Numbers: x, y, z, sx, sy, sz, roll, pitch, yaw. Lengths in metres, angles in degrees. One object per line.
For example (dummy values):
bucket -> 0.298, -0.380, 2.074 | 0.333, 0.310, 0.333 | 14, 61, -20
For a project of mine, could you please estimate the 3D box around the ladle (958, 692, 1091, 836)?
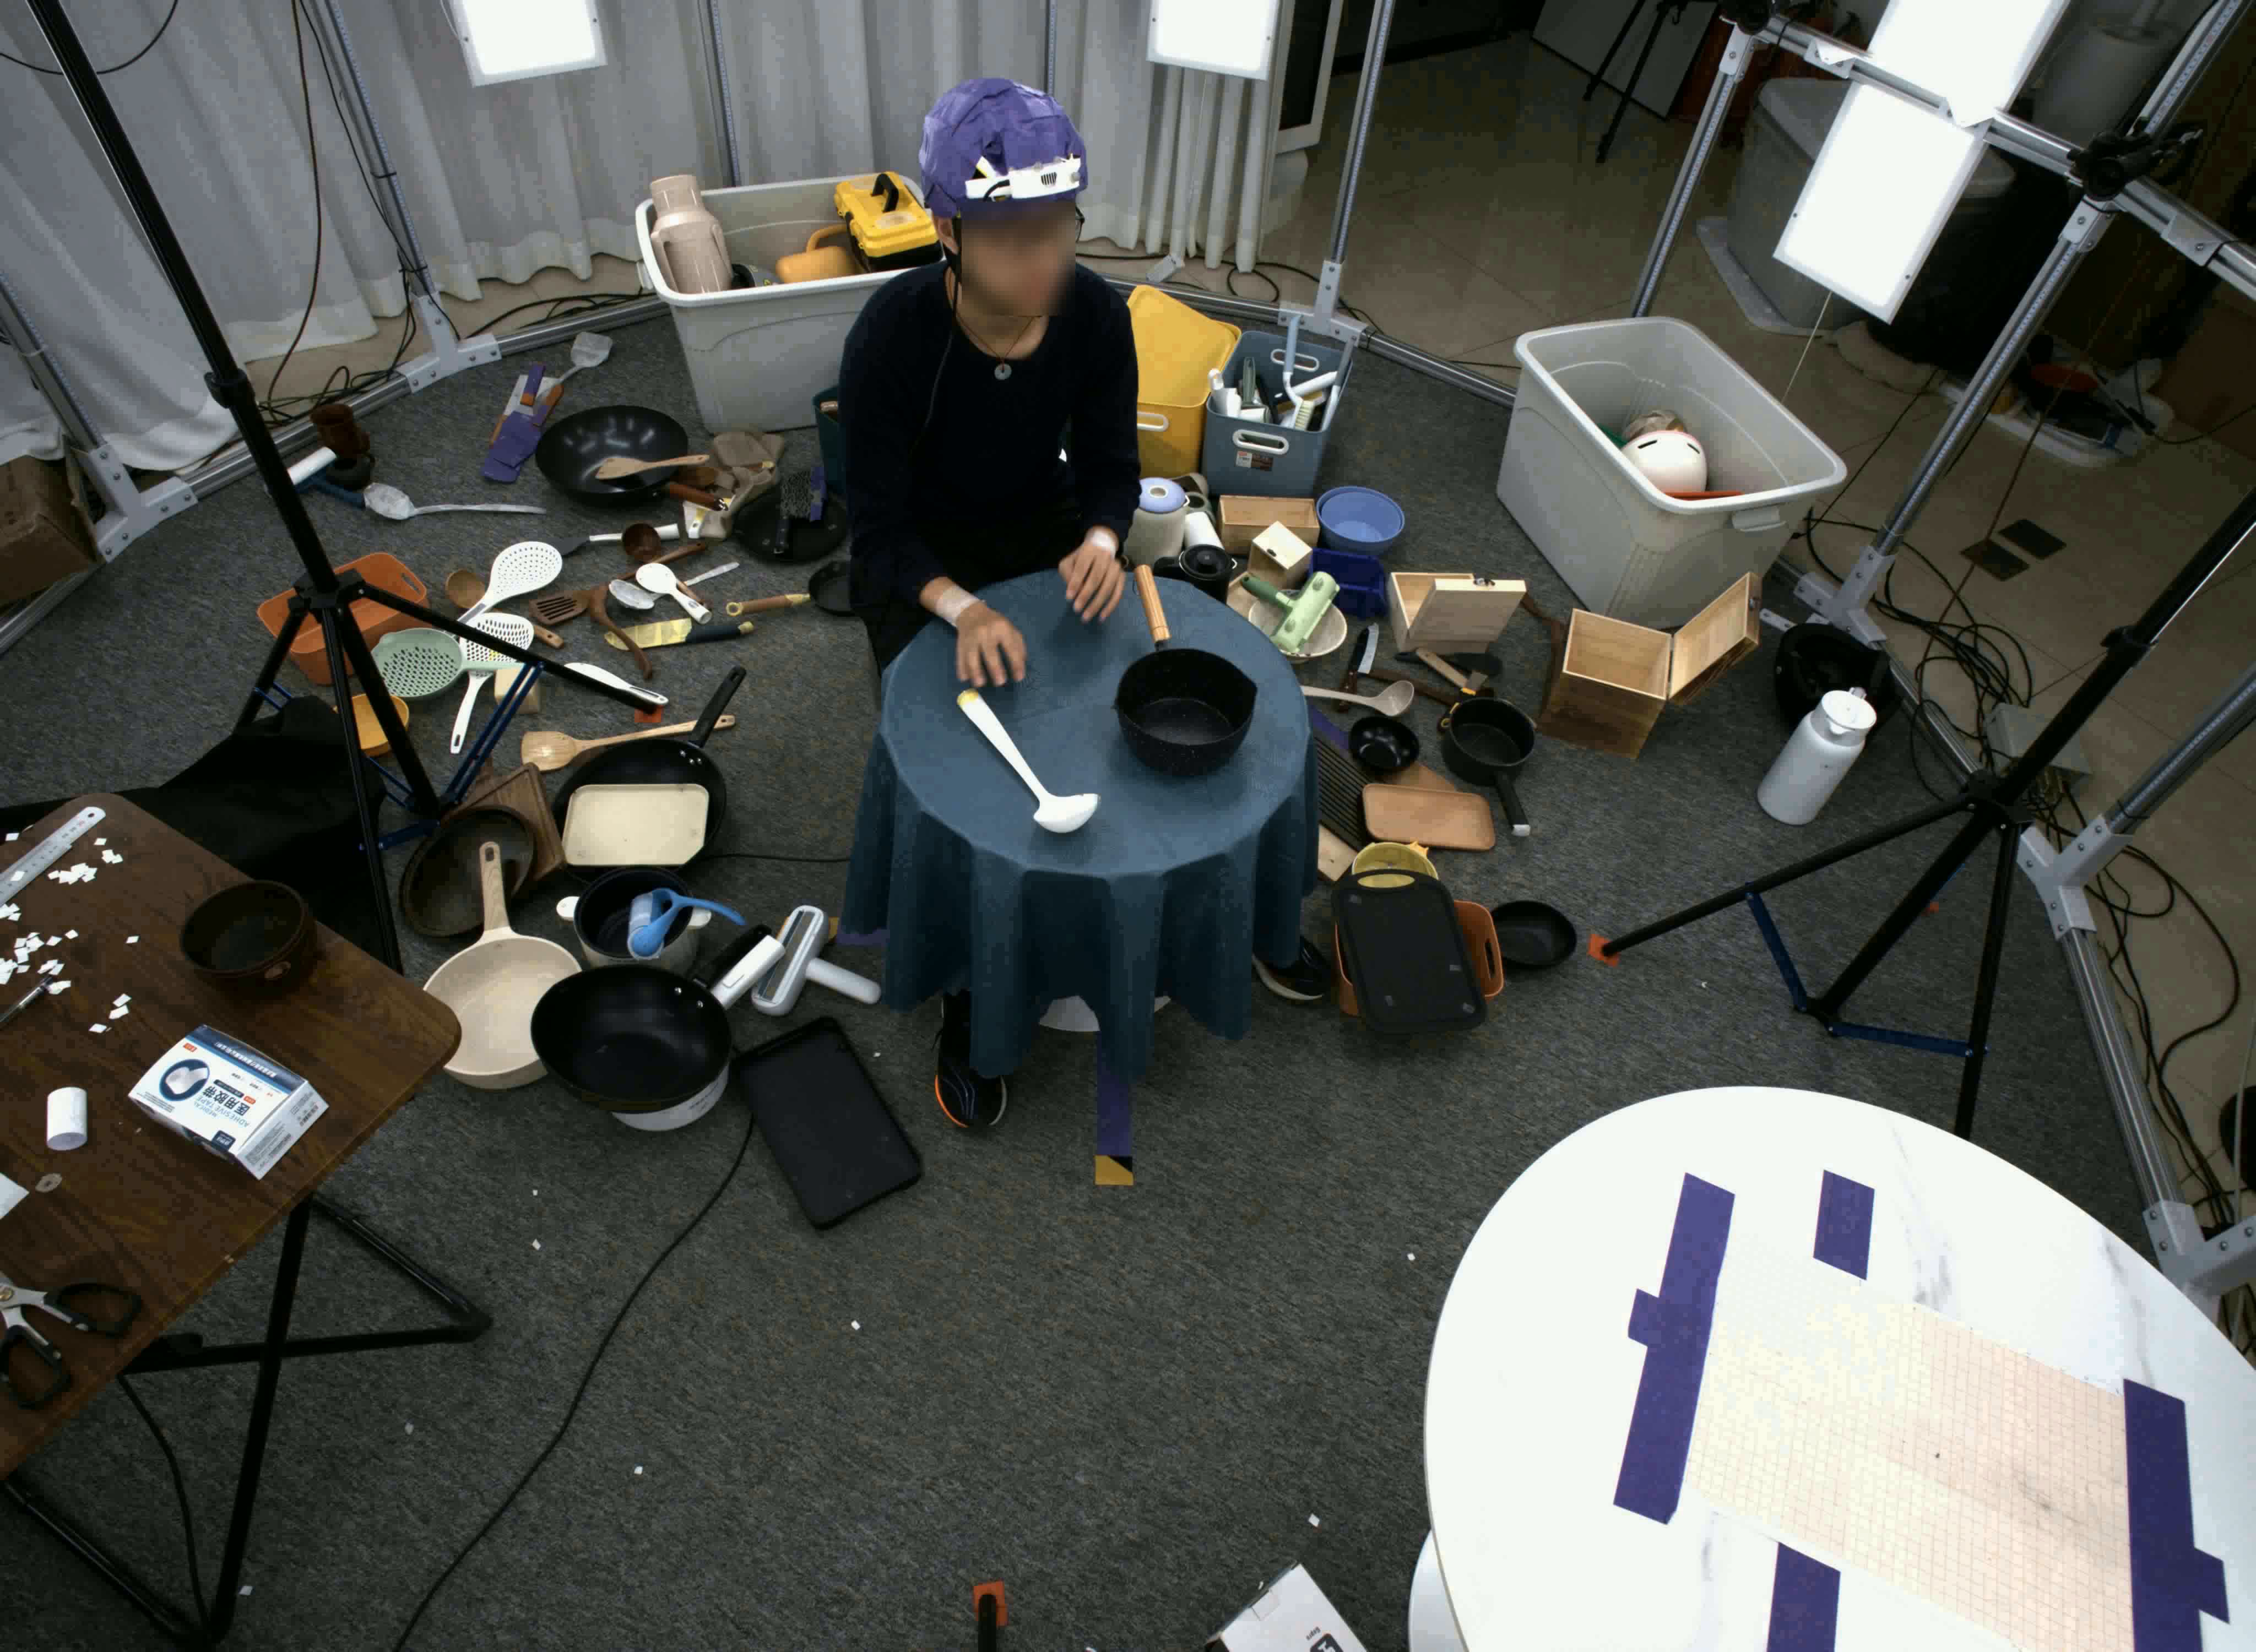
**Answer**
ladle -> -0.148, -0.090, 1.696 | 0.090, 0.068, 0.299 | -26, 54, -17

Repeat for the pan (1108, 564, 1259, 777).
pan -> 0.056, -0.217, 1.792 | 0.207, 0.105, 0.351 | -10, 52, -11
